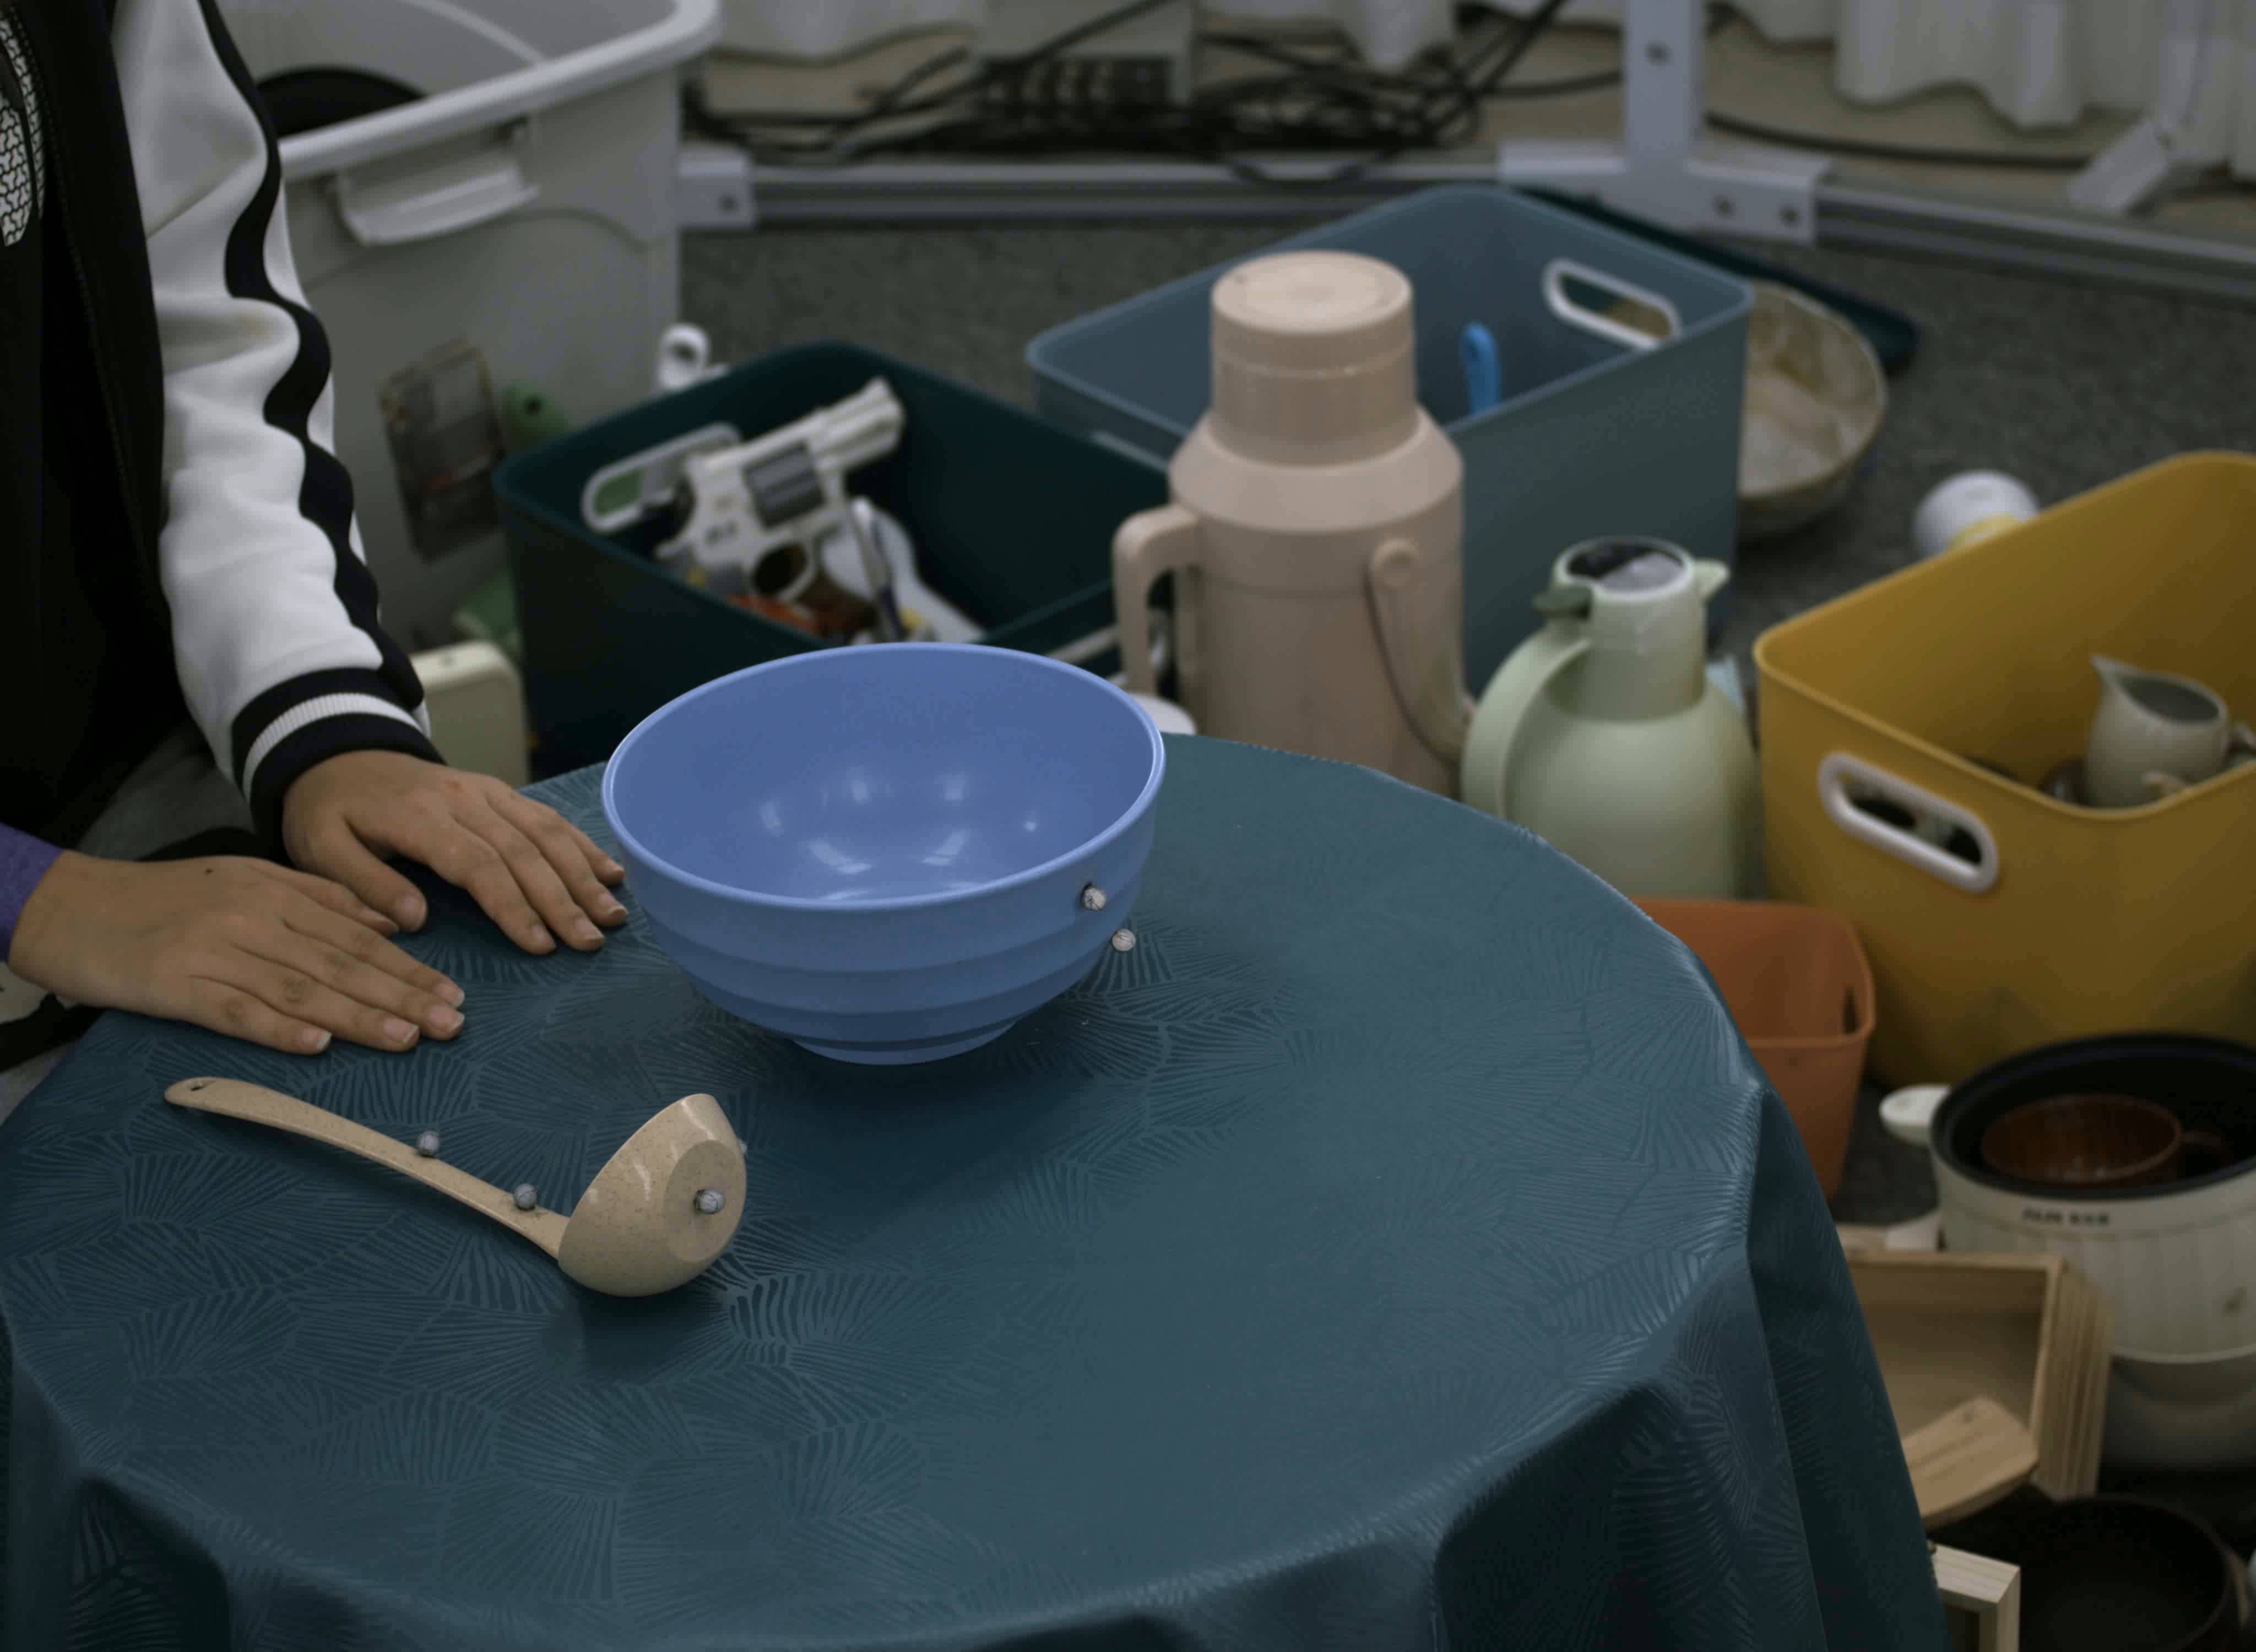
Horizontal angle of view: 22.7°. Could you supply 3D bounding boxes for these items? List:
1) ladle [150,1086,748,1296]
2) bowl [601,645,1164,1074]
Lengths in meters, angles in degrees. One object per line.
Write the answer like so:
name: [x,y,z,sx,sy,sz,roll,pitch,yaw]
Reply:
ladle: [-0.235,0.094,1.861,0.253,0.072,0.073,16,31,32]
bowl: [-0.081,0.023,1.964,0.195,0.094,0.199,-3,28,2]
